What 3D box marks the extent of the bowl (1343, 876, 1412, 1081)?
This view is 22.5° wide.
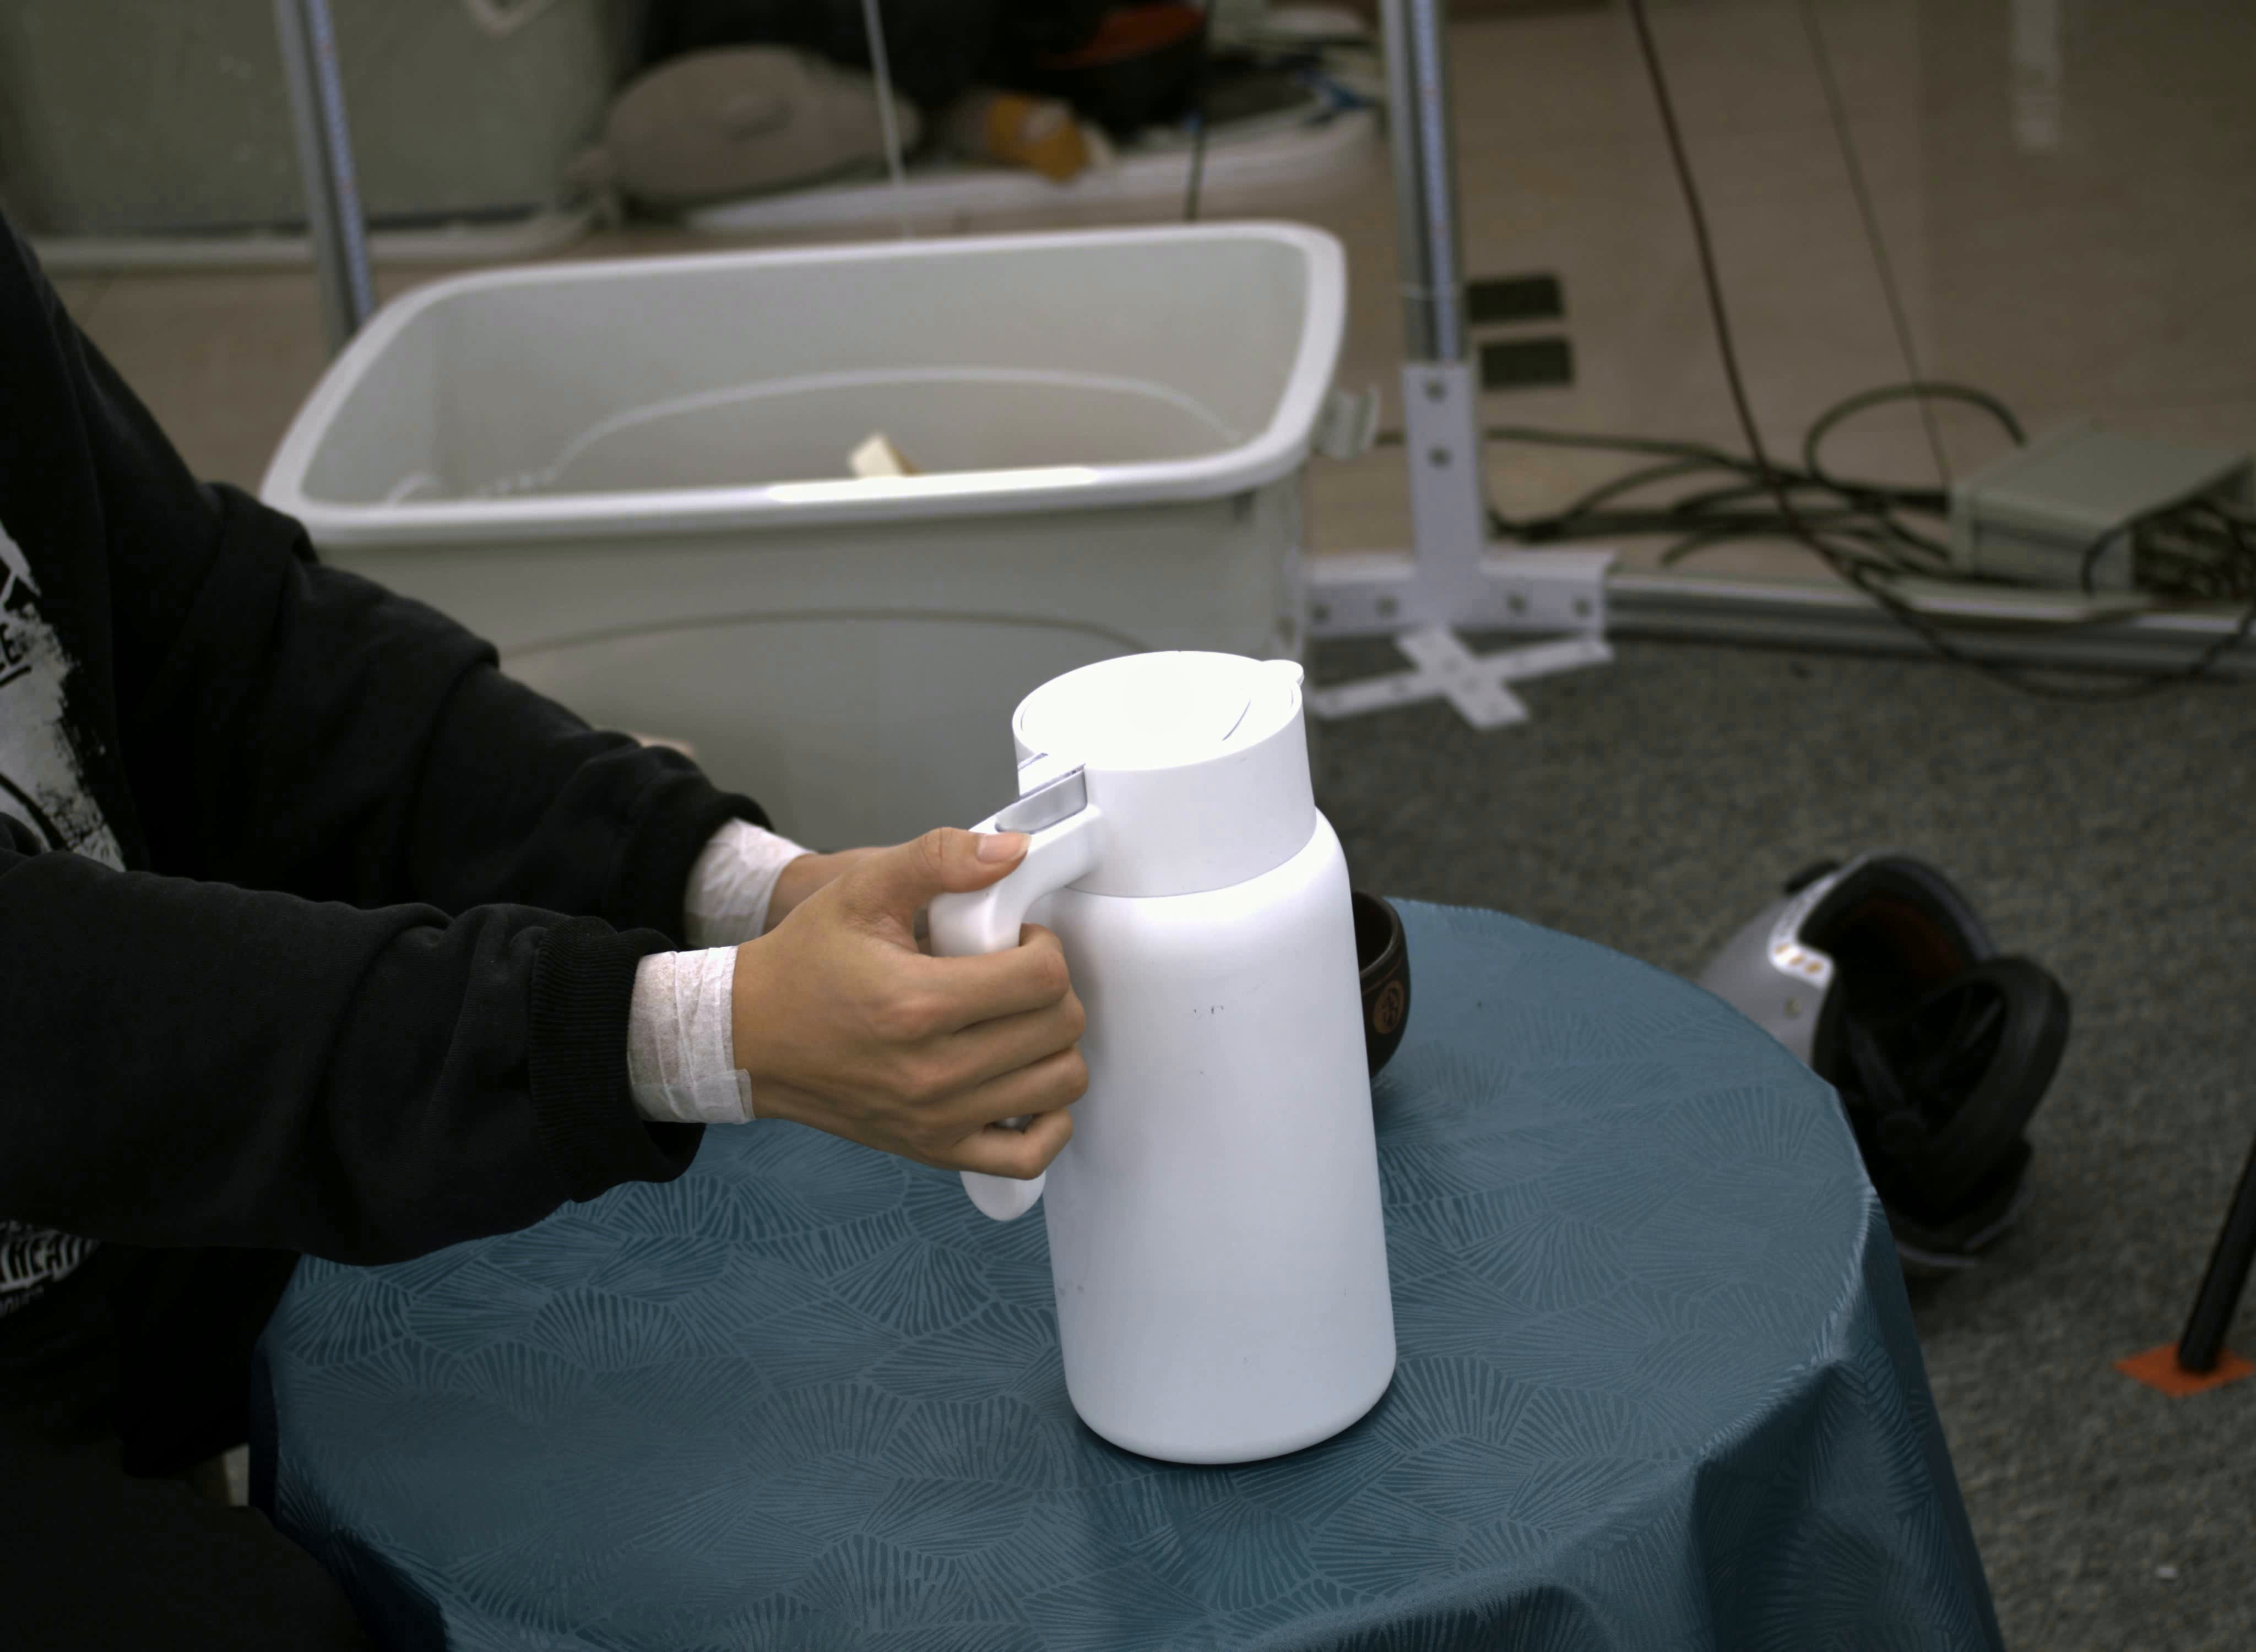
[{"bbox_3d":[0.053,0.072,2.192,0.118,0.071,0.116,-6,26,3],"label":"bowl"}]

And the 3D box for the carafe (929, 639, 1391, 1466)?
[{"bbox_3d":[0.012,0.087,1.939,0.123,0.273,0.171,19,35,38],"label":"carafe"}]
